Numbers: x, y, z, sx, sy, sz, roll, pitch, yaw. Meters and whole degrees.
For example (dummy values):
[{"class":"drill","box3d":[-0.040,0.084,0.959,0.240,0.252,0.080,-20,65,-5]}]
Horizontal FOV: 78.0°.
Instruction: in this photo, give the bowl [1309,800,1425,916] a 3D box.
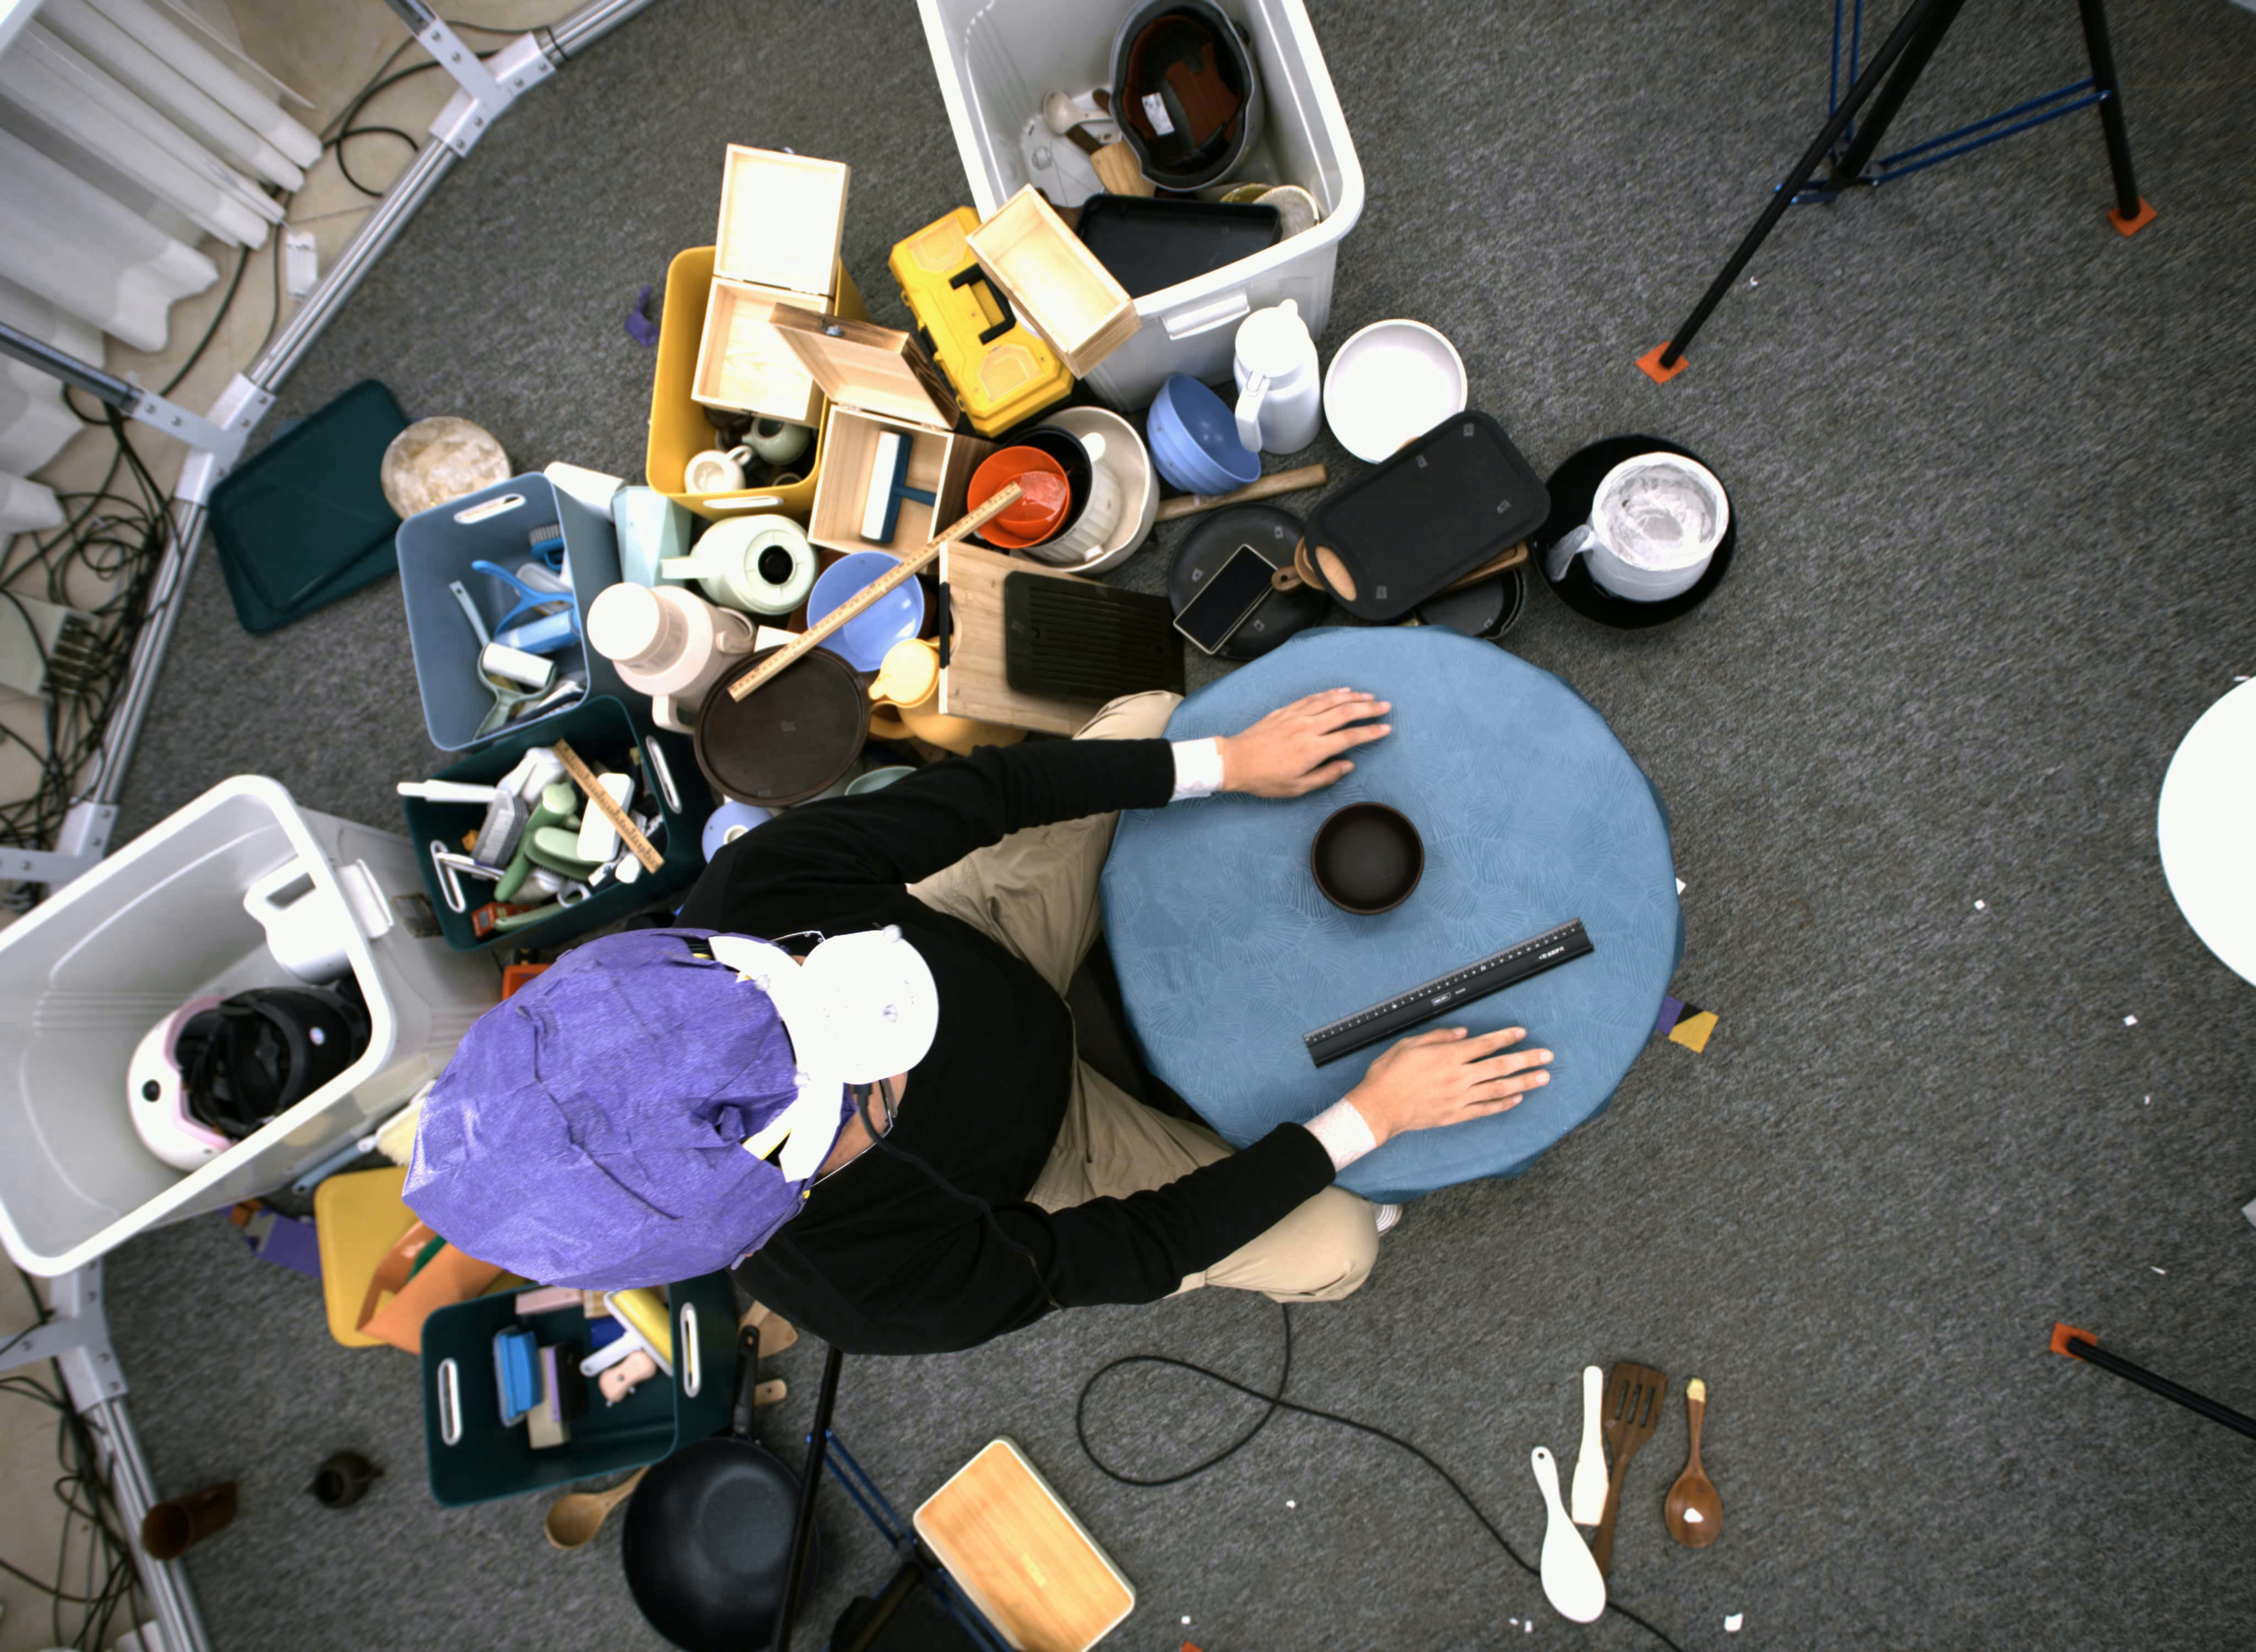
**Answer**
[{"class":"bowl","box3d":[0.247,0.034,1.429,0.118,0.070,0.117,-1,85,10]}]

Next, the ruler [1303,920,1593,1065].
[{"class":"ruler","box3d":[0.332,0.171,1.435,0.314,0.017,0.039,-24,78,8]}]
